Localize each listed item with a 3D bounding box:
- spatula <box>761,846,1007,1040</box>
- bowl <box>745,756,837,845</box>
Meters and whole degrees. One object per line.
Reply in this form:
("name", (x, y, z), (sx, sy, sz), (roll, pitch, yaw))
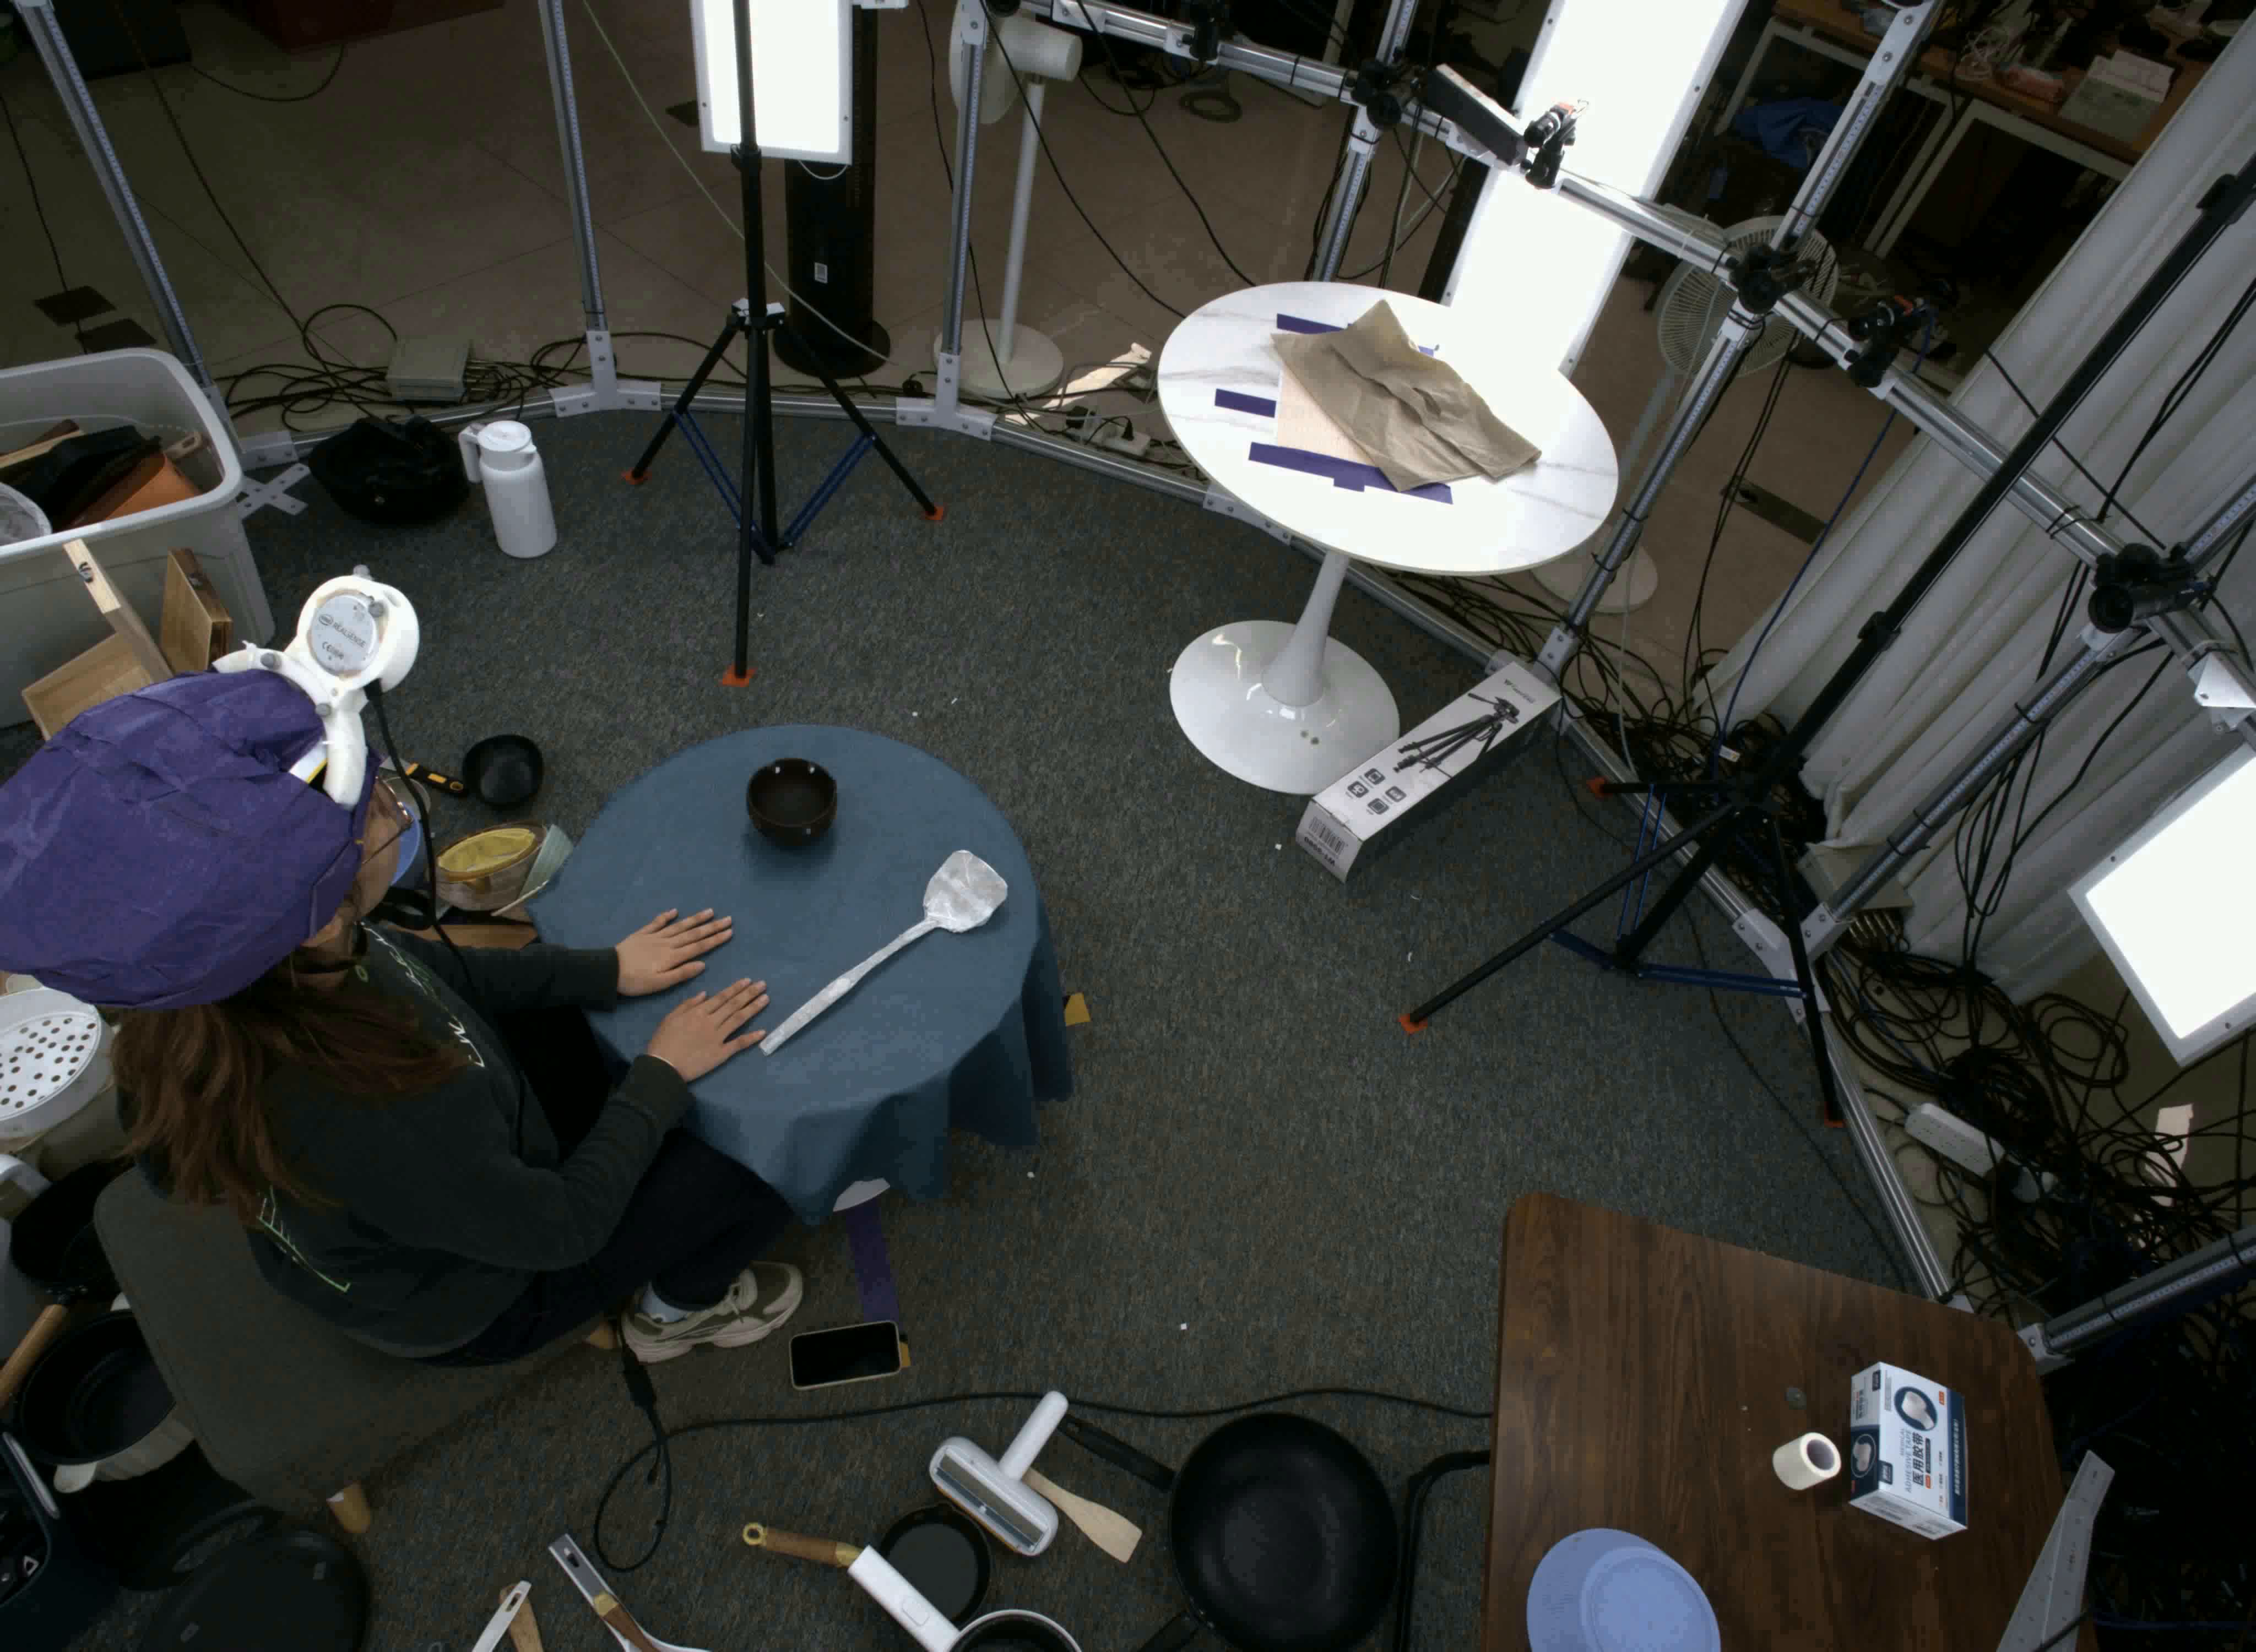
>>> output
("spatula", (-0.305, 0.151, 1.622), (0.097, 0.045, 0.365), (42, 55, 16))
("bowl", (-0.440, -0.026, 1.698), (0.117, 0.071, 0.116), (6, 52, -6))
